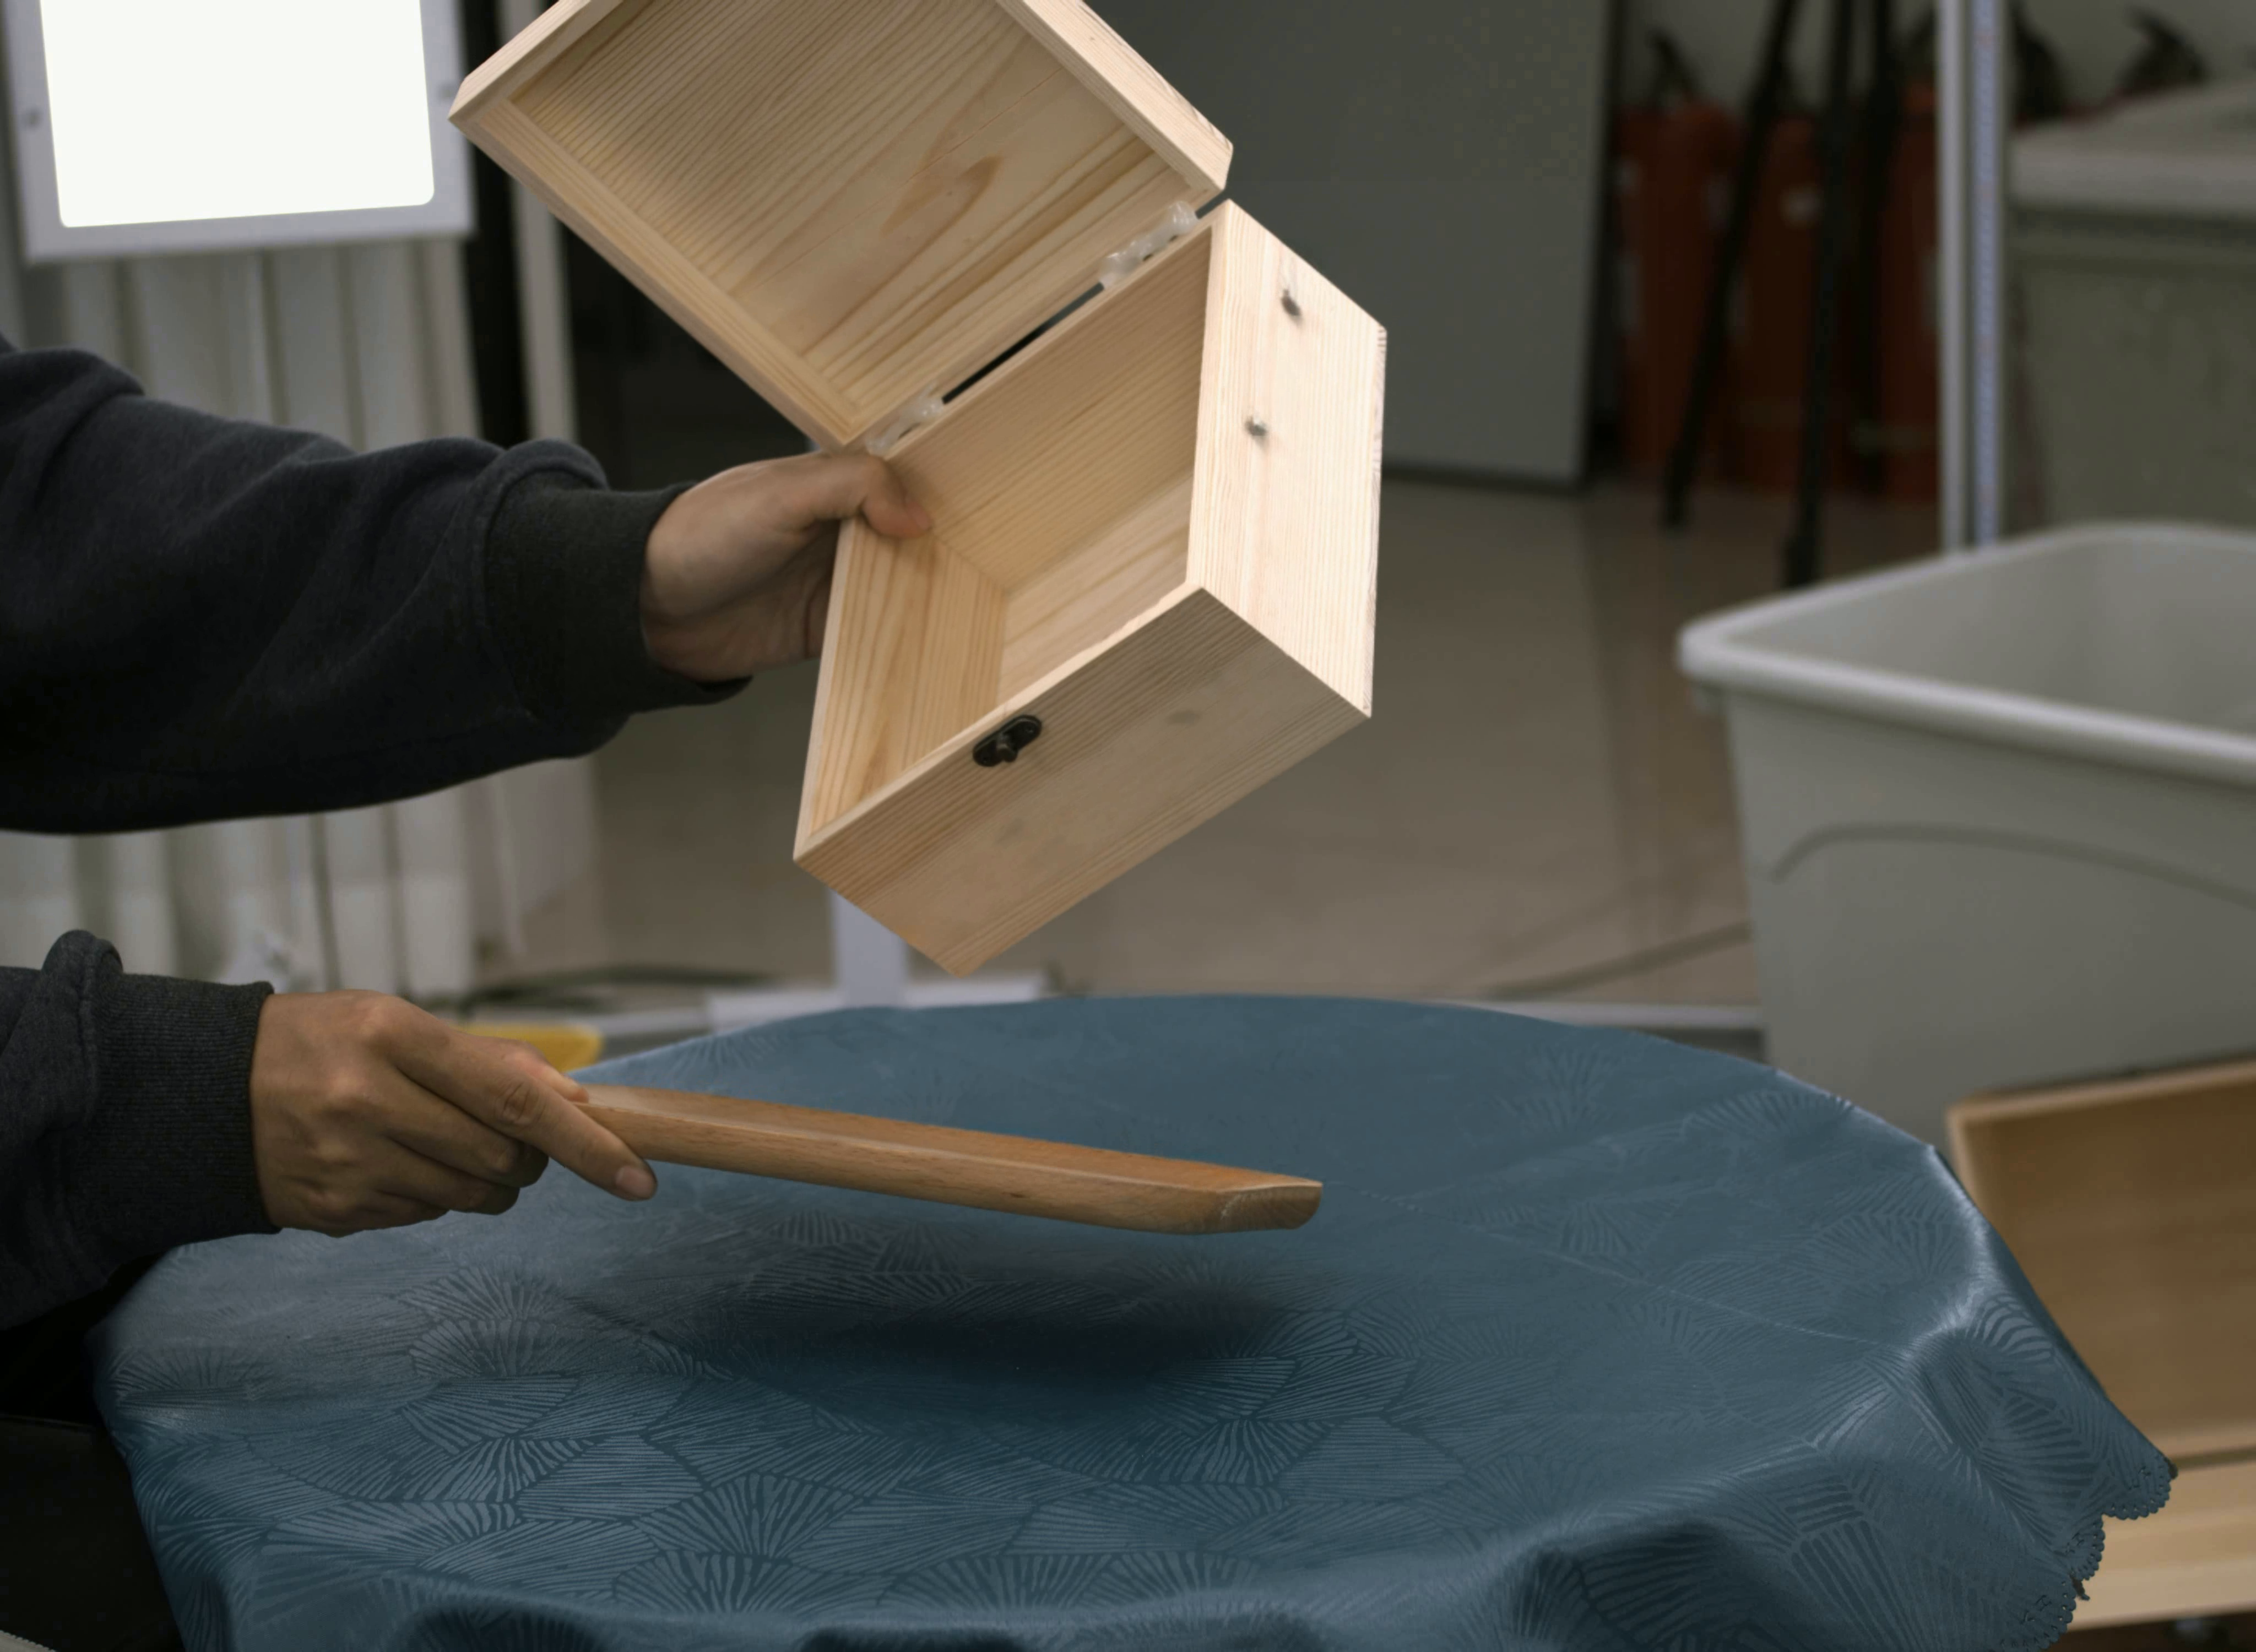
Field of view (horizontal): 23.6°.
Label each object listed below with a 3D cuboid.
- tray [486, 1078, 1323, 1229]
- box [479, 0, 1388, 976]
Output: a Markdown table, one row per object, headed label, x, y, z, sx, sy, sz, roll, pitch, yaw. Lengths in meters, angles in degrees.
| label | x | y | z | sx | sy | sz | roll | pitch | yaw |
| --- | --- | --- | --- | --- | --- | --- | --- | --- | --- |
| tray | -0.069 | 0.100 | 1.652 | 0.251 | 0.023 | 0.128 | 5 | -4 | 26 |
| box | -0.069 | -0.148 | 1.697 | 0.183 | 0.249 | 0.267 | -37 | 31 | 33 |
